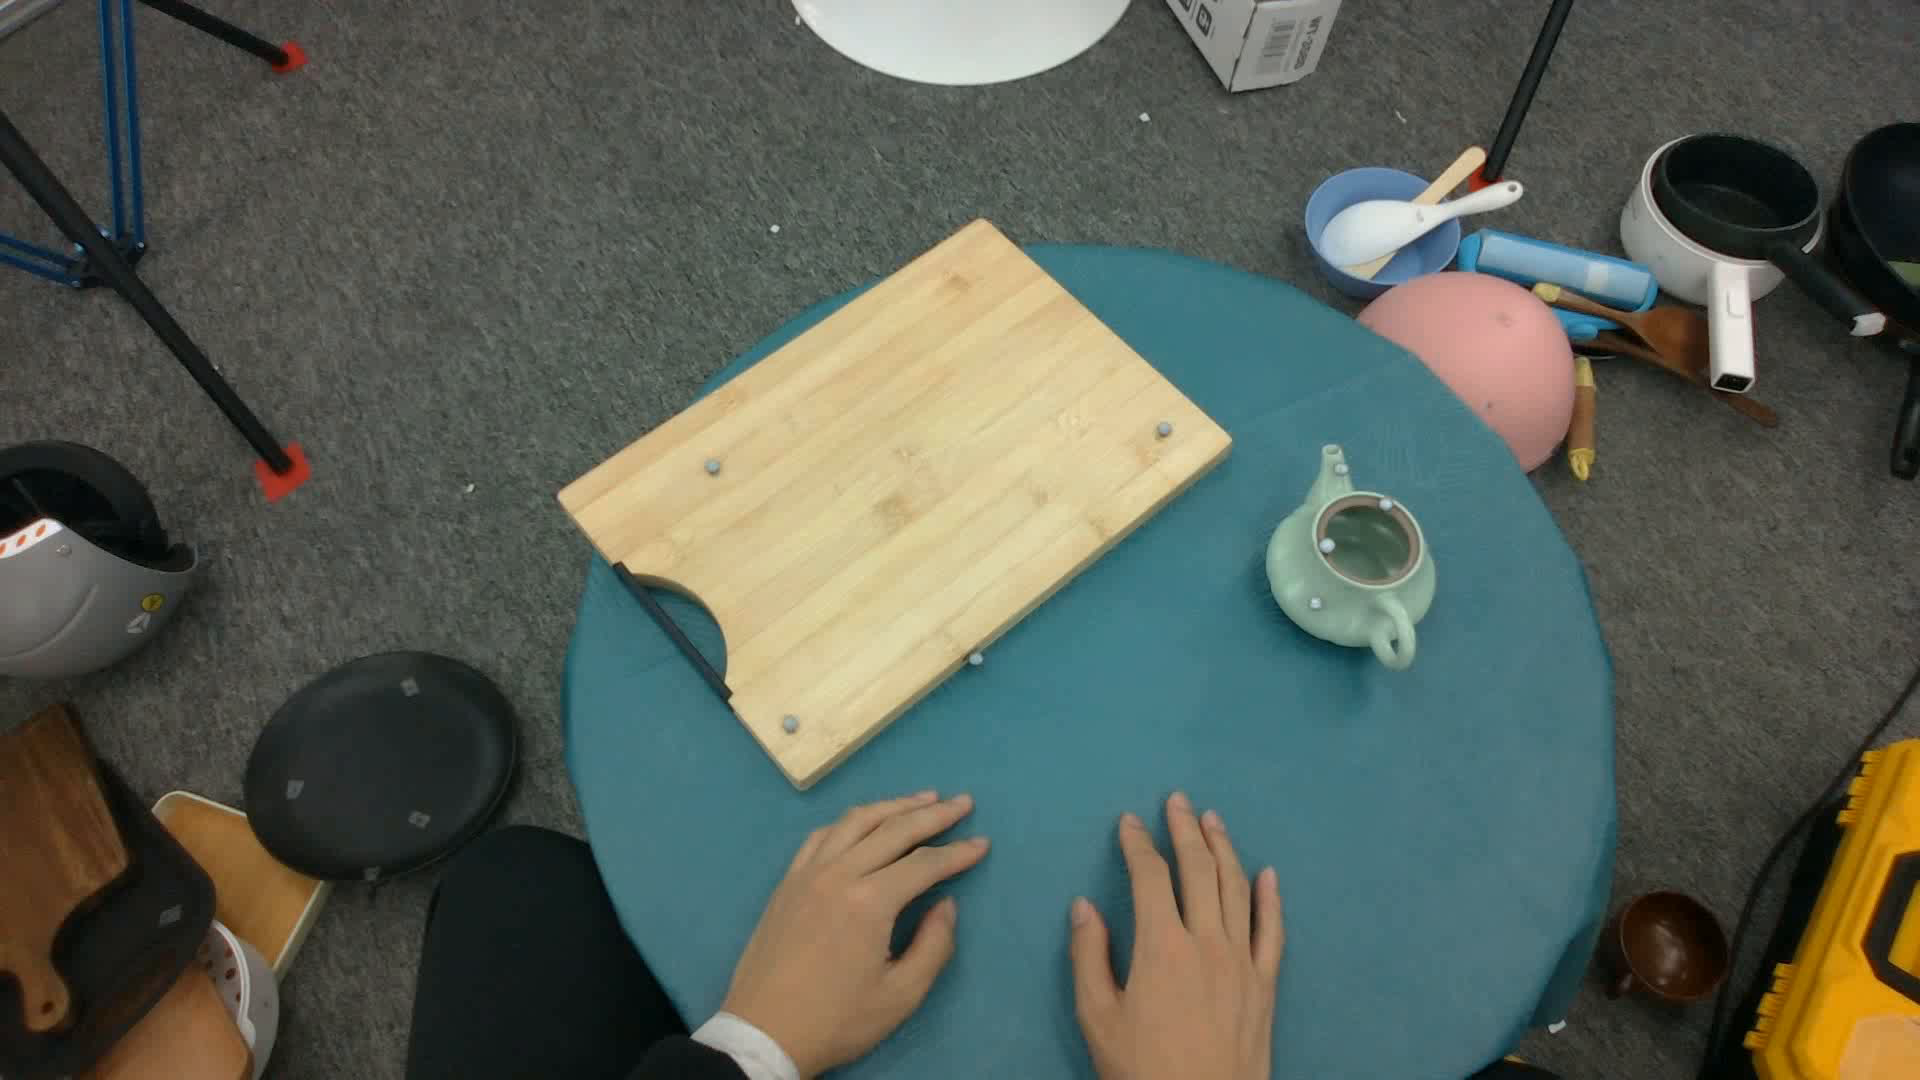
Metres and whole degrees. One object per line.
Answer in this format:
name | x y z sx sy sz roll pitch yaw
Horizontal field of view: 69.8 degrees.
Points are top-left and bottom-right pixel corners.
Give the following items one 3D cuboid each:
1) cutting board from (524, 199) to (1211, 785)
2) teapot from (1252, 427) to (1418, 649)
cutting board | -0.050 -0.048 0.841 0.350 0.023 0.251 -38 68 -20
teapot | 0.221 0.005 0.793 0.096 0.061 0.137 -12 62 -9
